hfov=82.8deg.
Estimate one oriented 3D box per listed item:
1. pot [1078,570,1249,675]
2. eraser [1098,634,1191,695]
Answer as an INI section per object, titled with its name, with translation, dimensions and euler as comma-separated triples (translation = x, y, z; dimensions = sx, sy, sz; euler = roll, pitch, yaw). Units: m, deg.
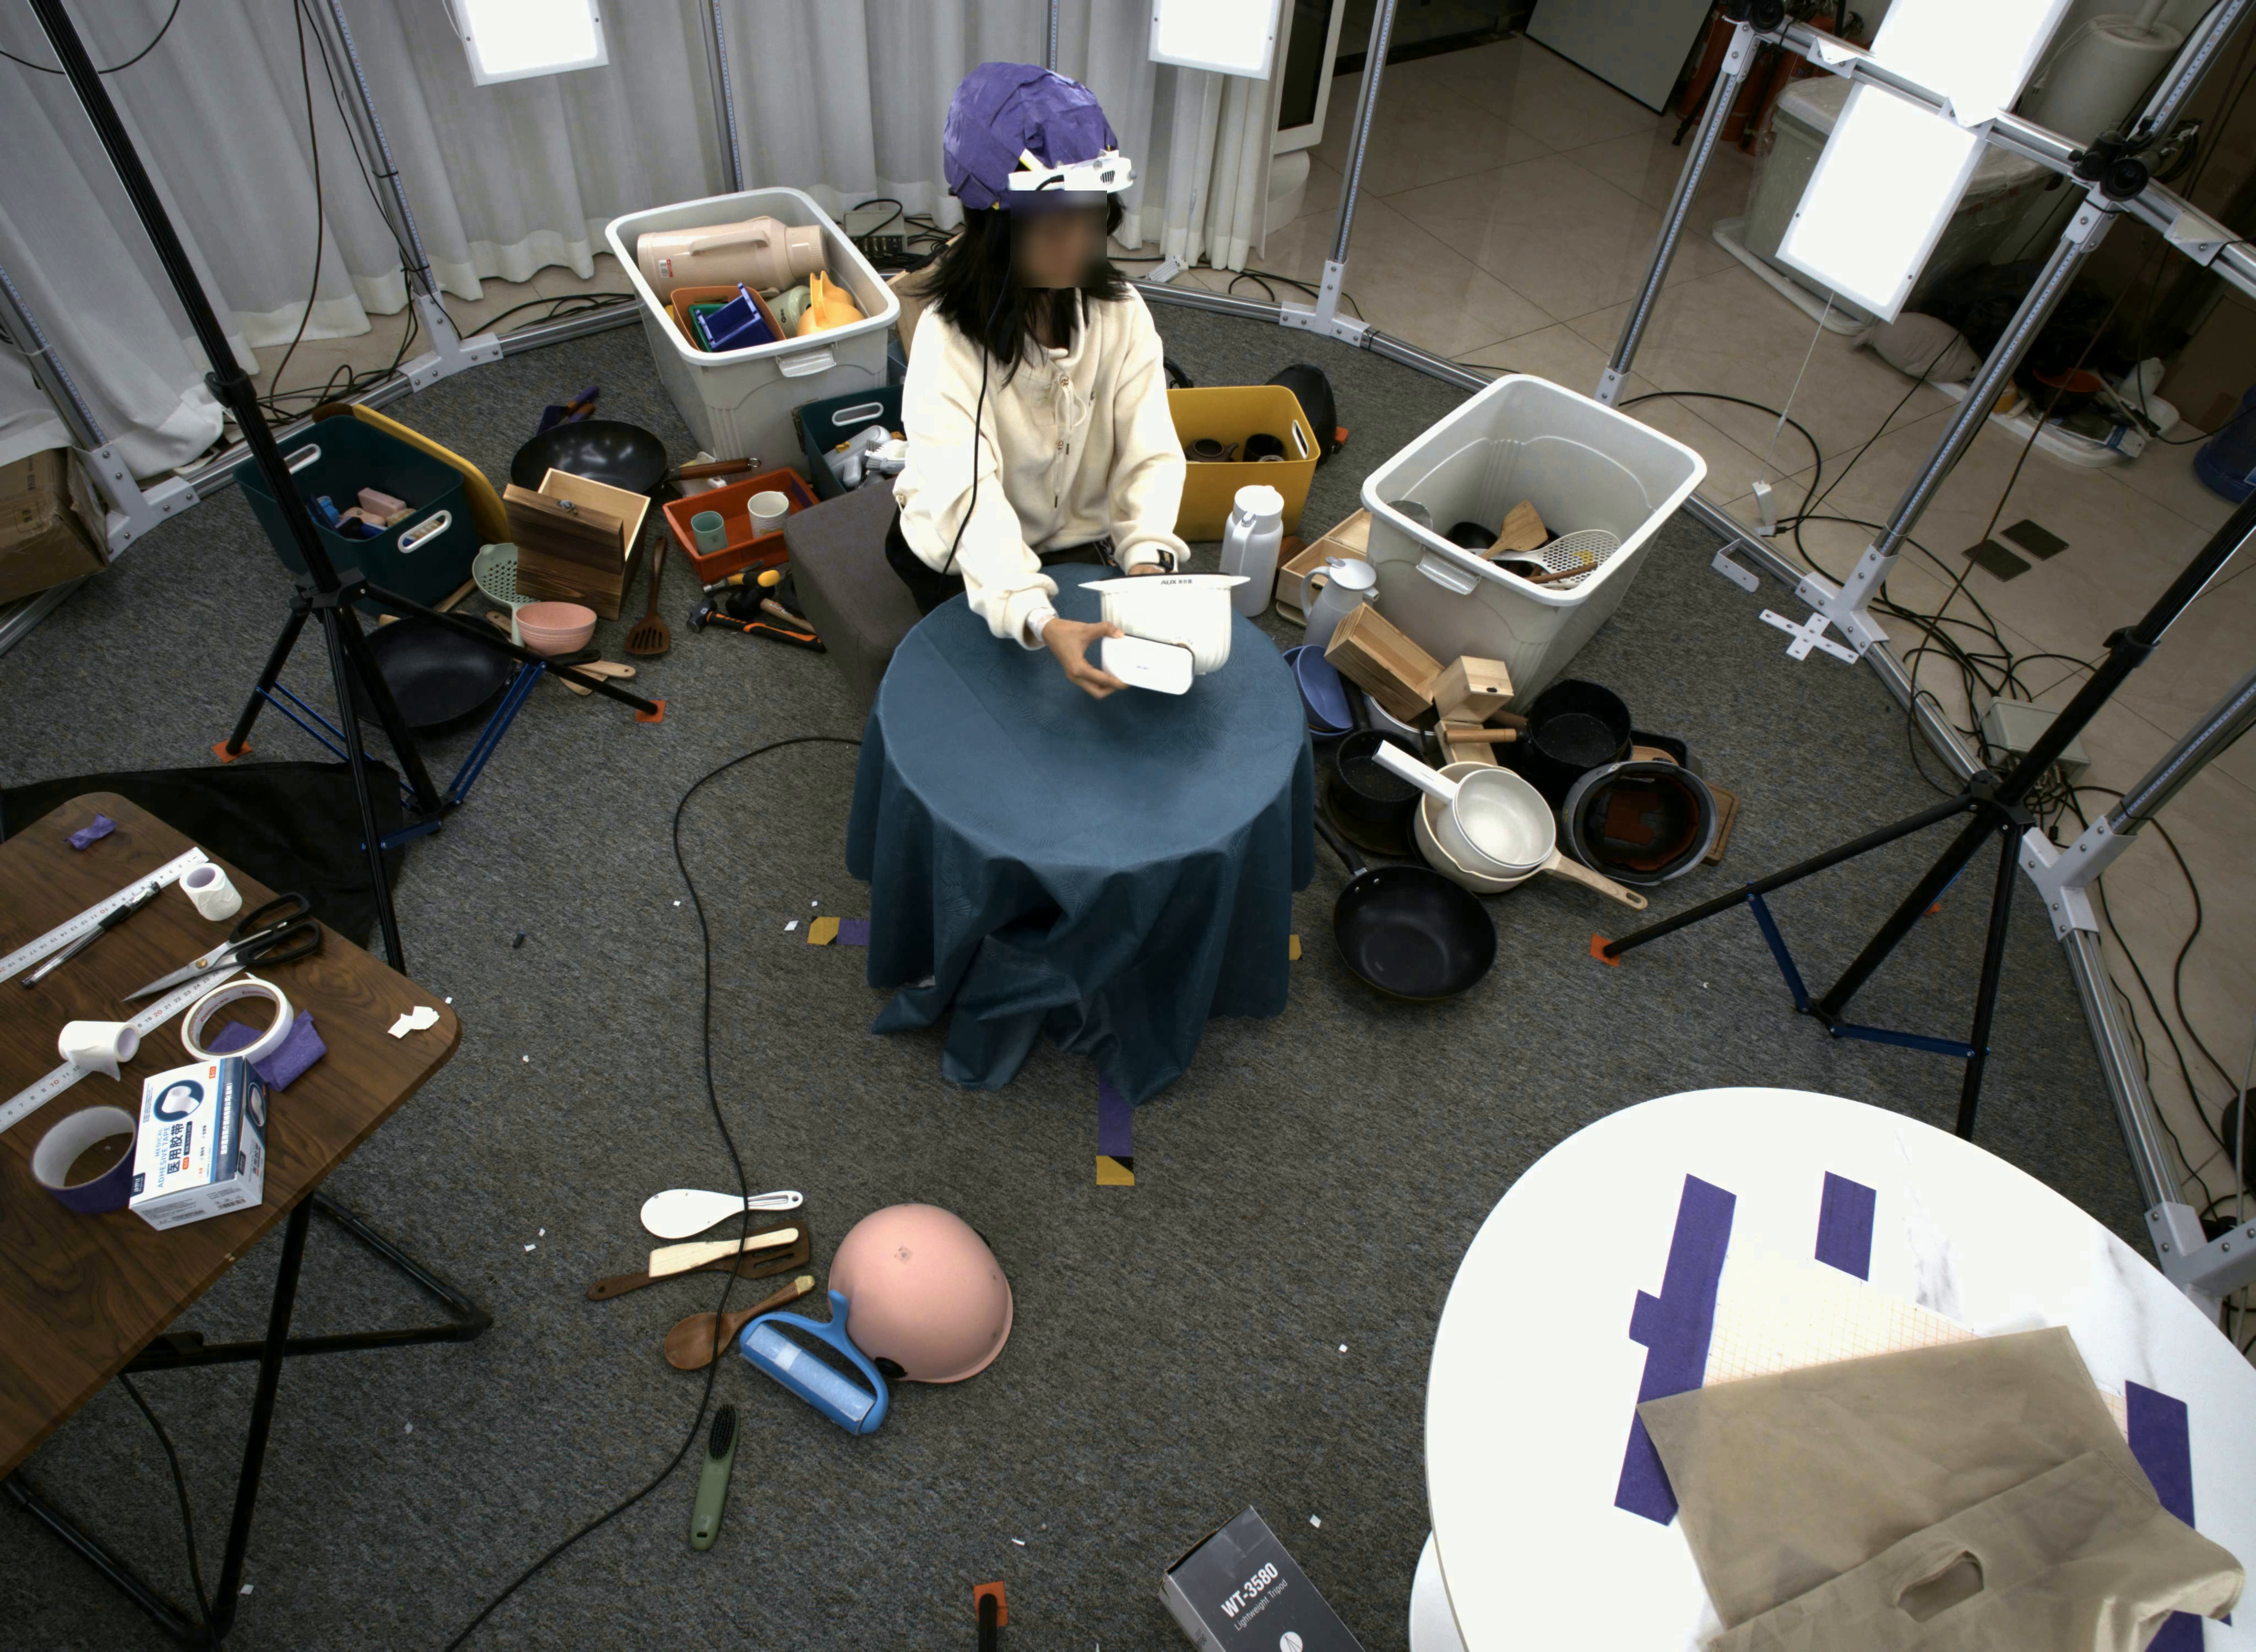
[pot]
translation = 0.055, -0.277, 1.772
dimensions = 0.240, 0.191, 0.142
euler = -4, 93, -8
[eraser]
translation = 0.020, -0.215, 1.686
dimensions = 0.132, 0.062, 0.035
euler = 16, 29, 26
